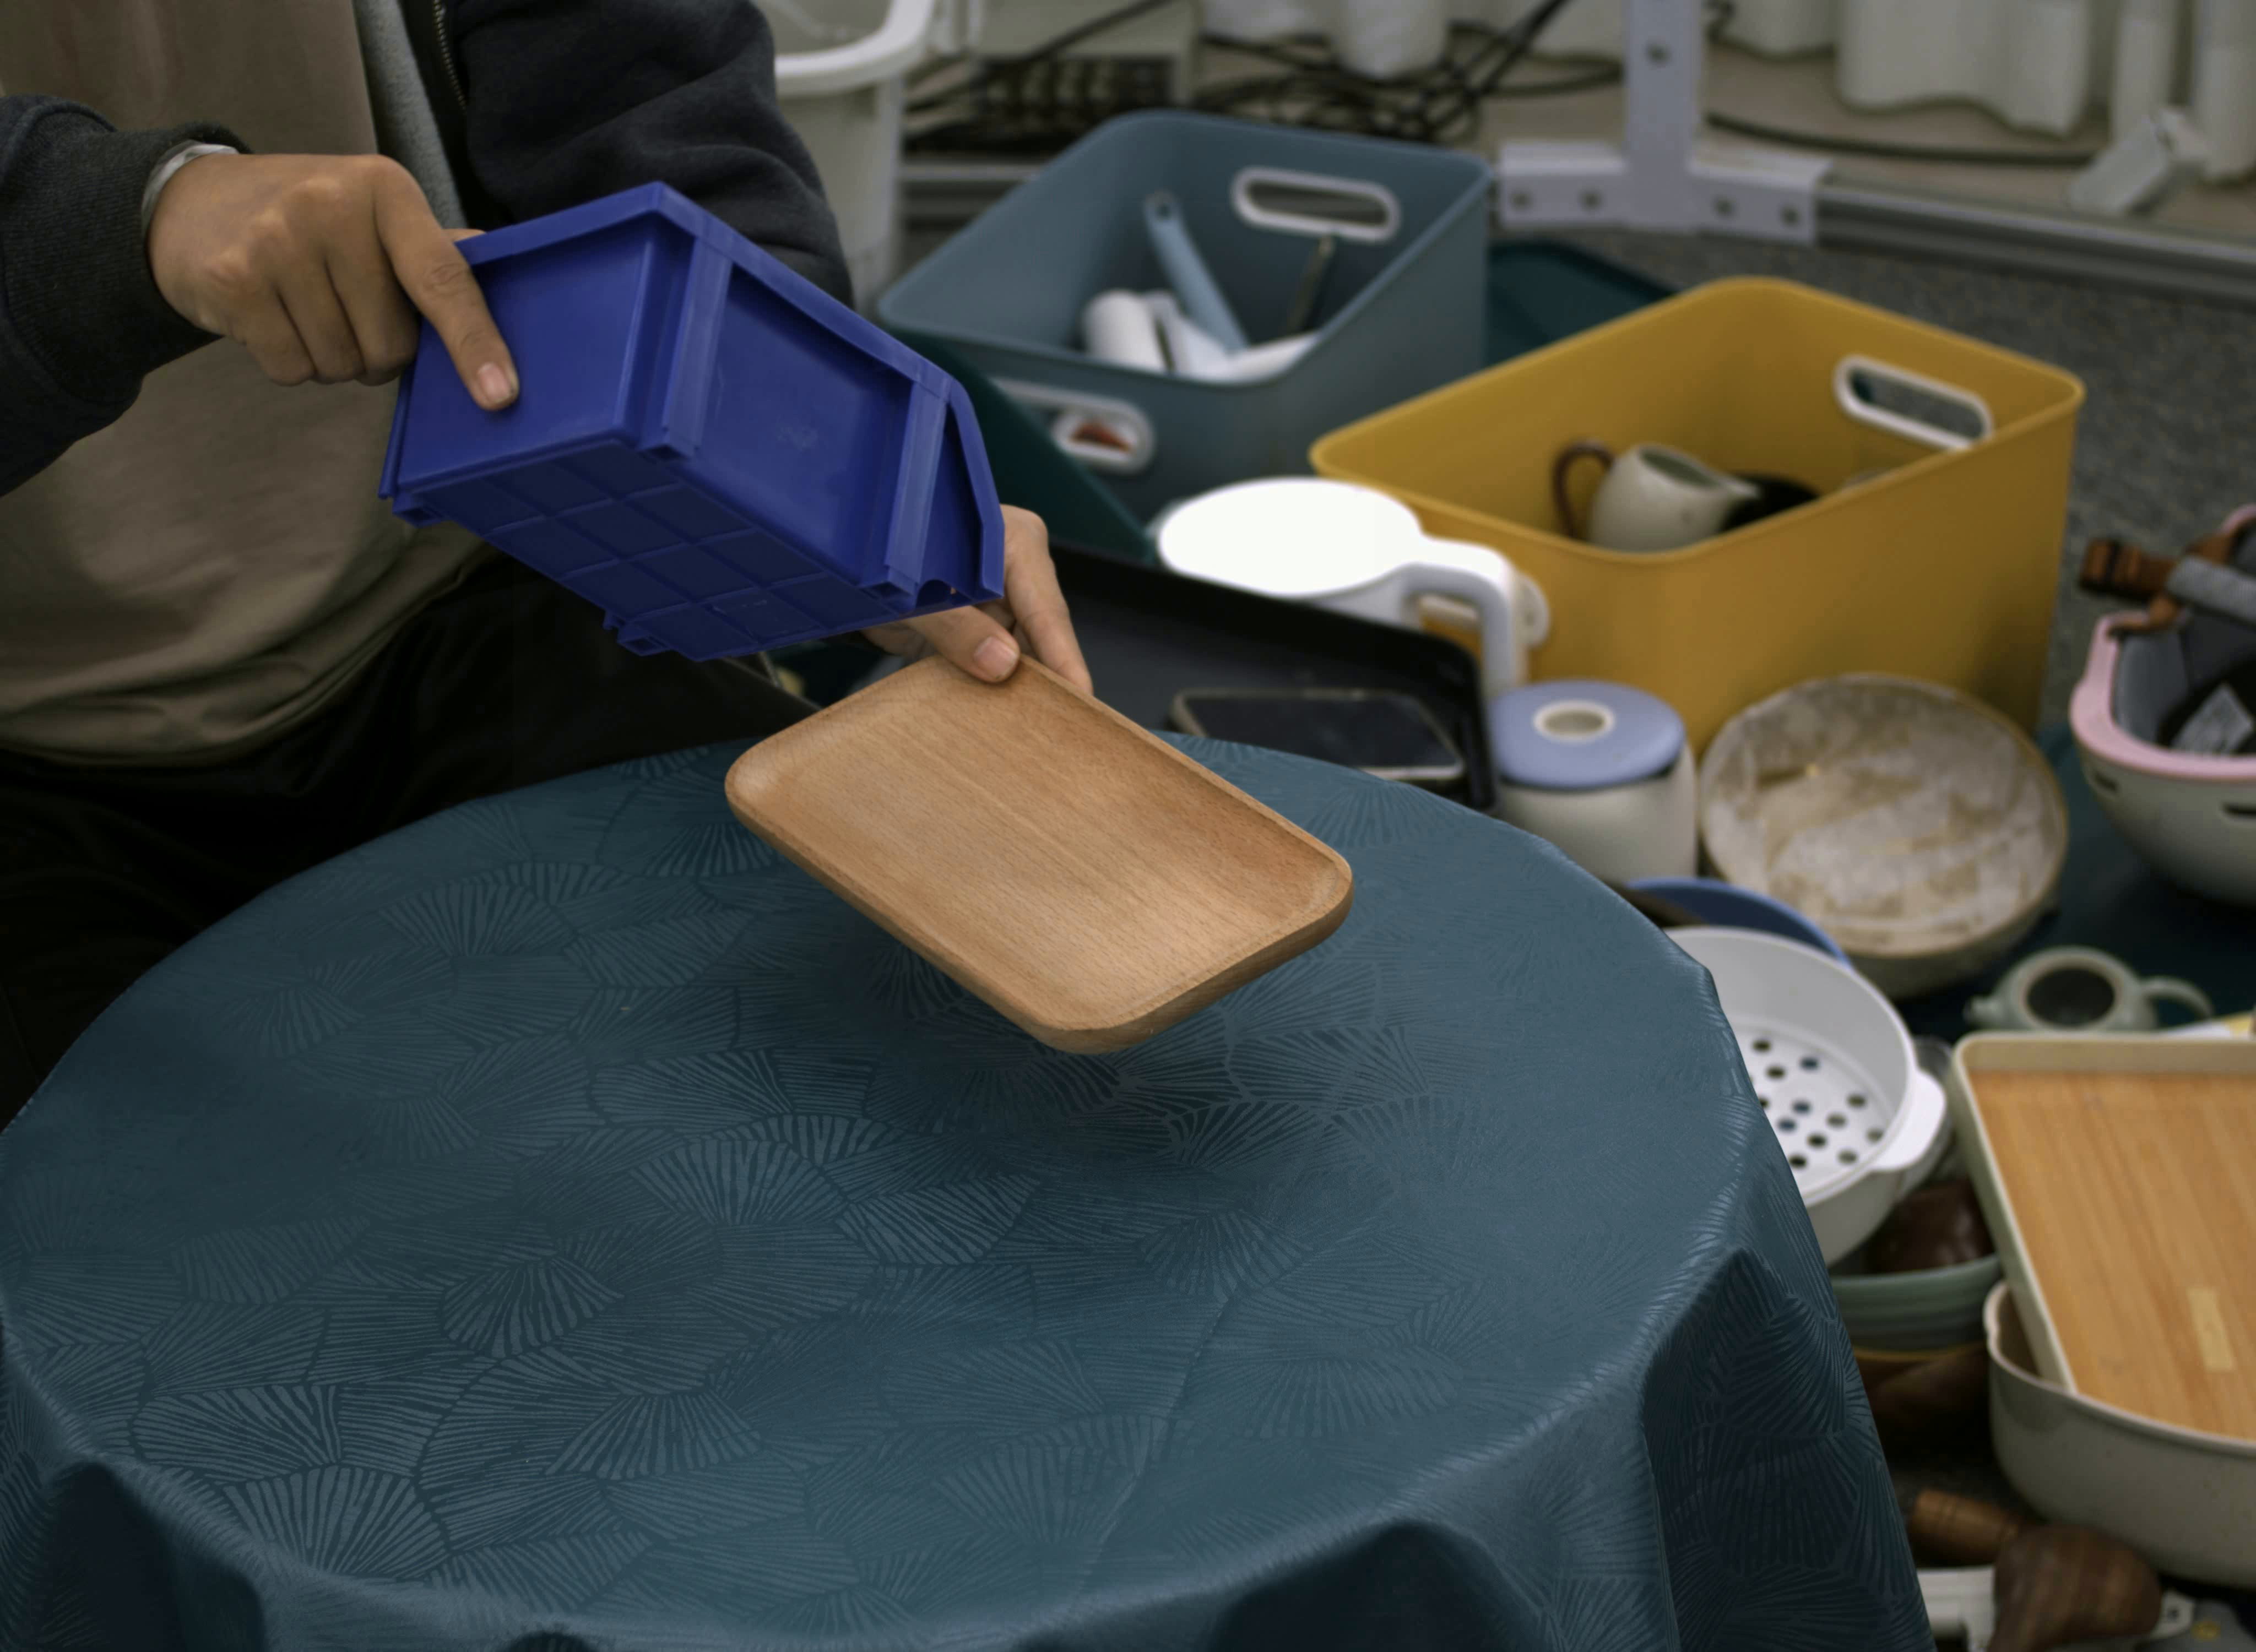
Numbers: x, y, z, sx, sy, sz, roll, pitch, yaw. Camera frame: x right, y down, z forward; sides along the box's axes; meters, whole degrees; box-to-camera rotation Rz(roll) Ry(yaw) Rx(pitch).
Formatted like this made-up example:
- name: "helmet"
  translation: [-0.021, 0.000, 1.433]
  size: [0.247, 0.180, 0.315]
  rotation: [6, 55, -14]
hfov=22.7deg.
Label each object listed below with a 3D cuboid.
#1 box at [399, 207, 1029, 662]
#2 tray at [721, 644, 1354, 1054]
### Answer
- name: "box"
  translation: [-0.134, -0.116, 1.810]
  size: [0.123, 0.083, 0.179]
  rotation: [-13, -26, 40]
- name: "tray"
  translation: [-0.034, 0.006, 1.932]
  size: [0.131, 0.022, 0.251]
  rotation: [-25, 33, -24]
